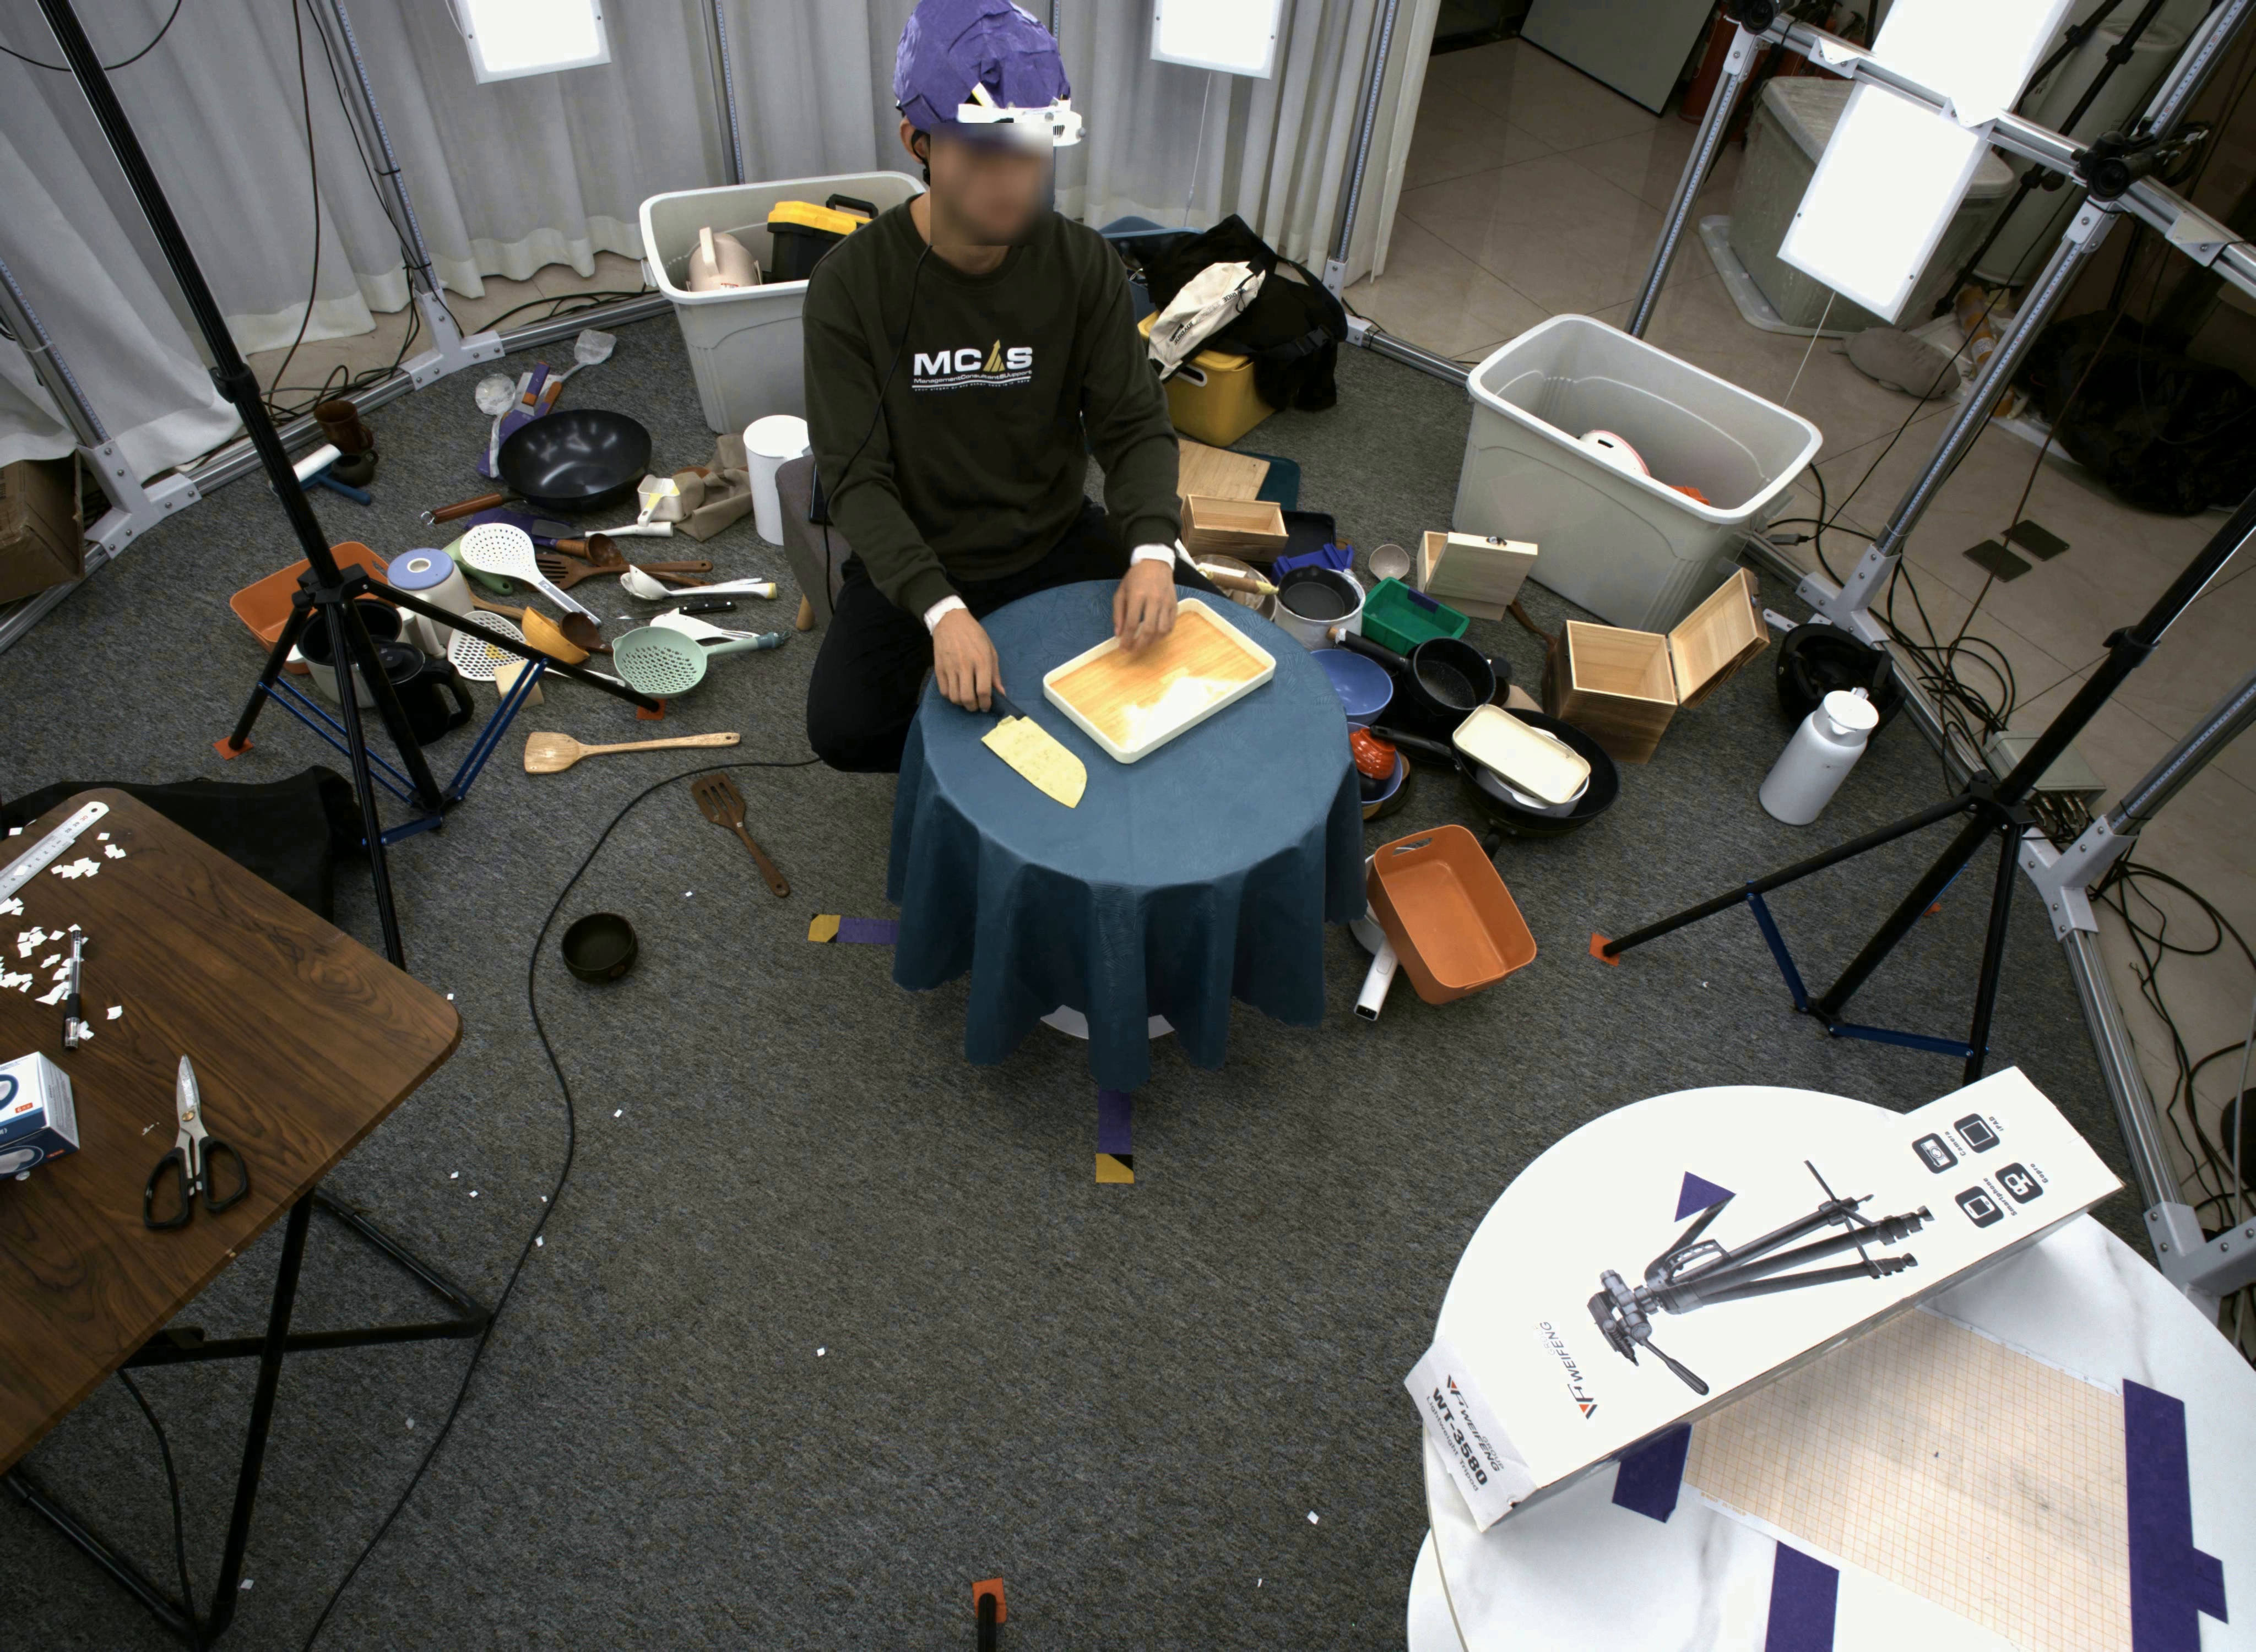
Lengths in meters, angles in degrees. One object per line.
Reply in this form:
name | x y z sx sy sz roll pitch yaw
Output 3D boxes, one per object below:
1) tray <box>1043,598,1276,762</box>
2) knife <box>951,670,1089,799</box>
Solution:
tray | 0.046 -0.215 1.840 0.302 0.027 0.195 -32 57 -28
knife | -0.157 -0.125 1.756 0.081 0.026 0.294 -34 59 -25
